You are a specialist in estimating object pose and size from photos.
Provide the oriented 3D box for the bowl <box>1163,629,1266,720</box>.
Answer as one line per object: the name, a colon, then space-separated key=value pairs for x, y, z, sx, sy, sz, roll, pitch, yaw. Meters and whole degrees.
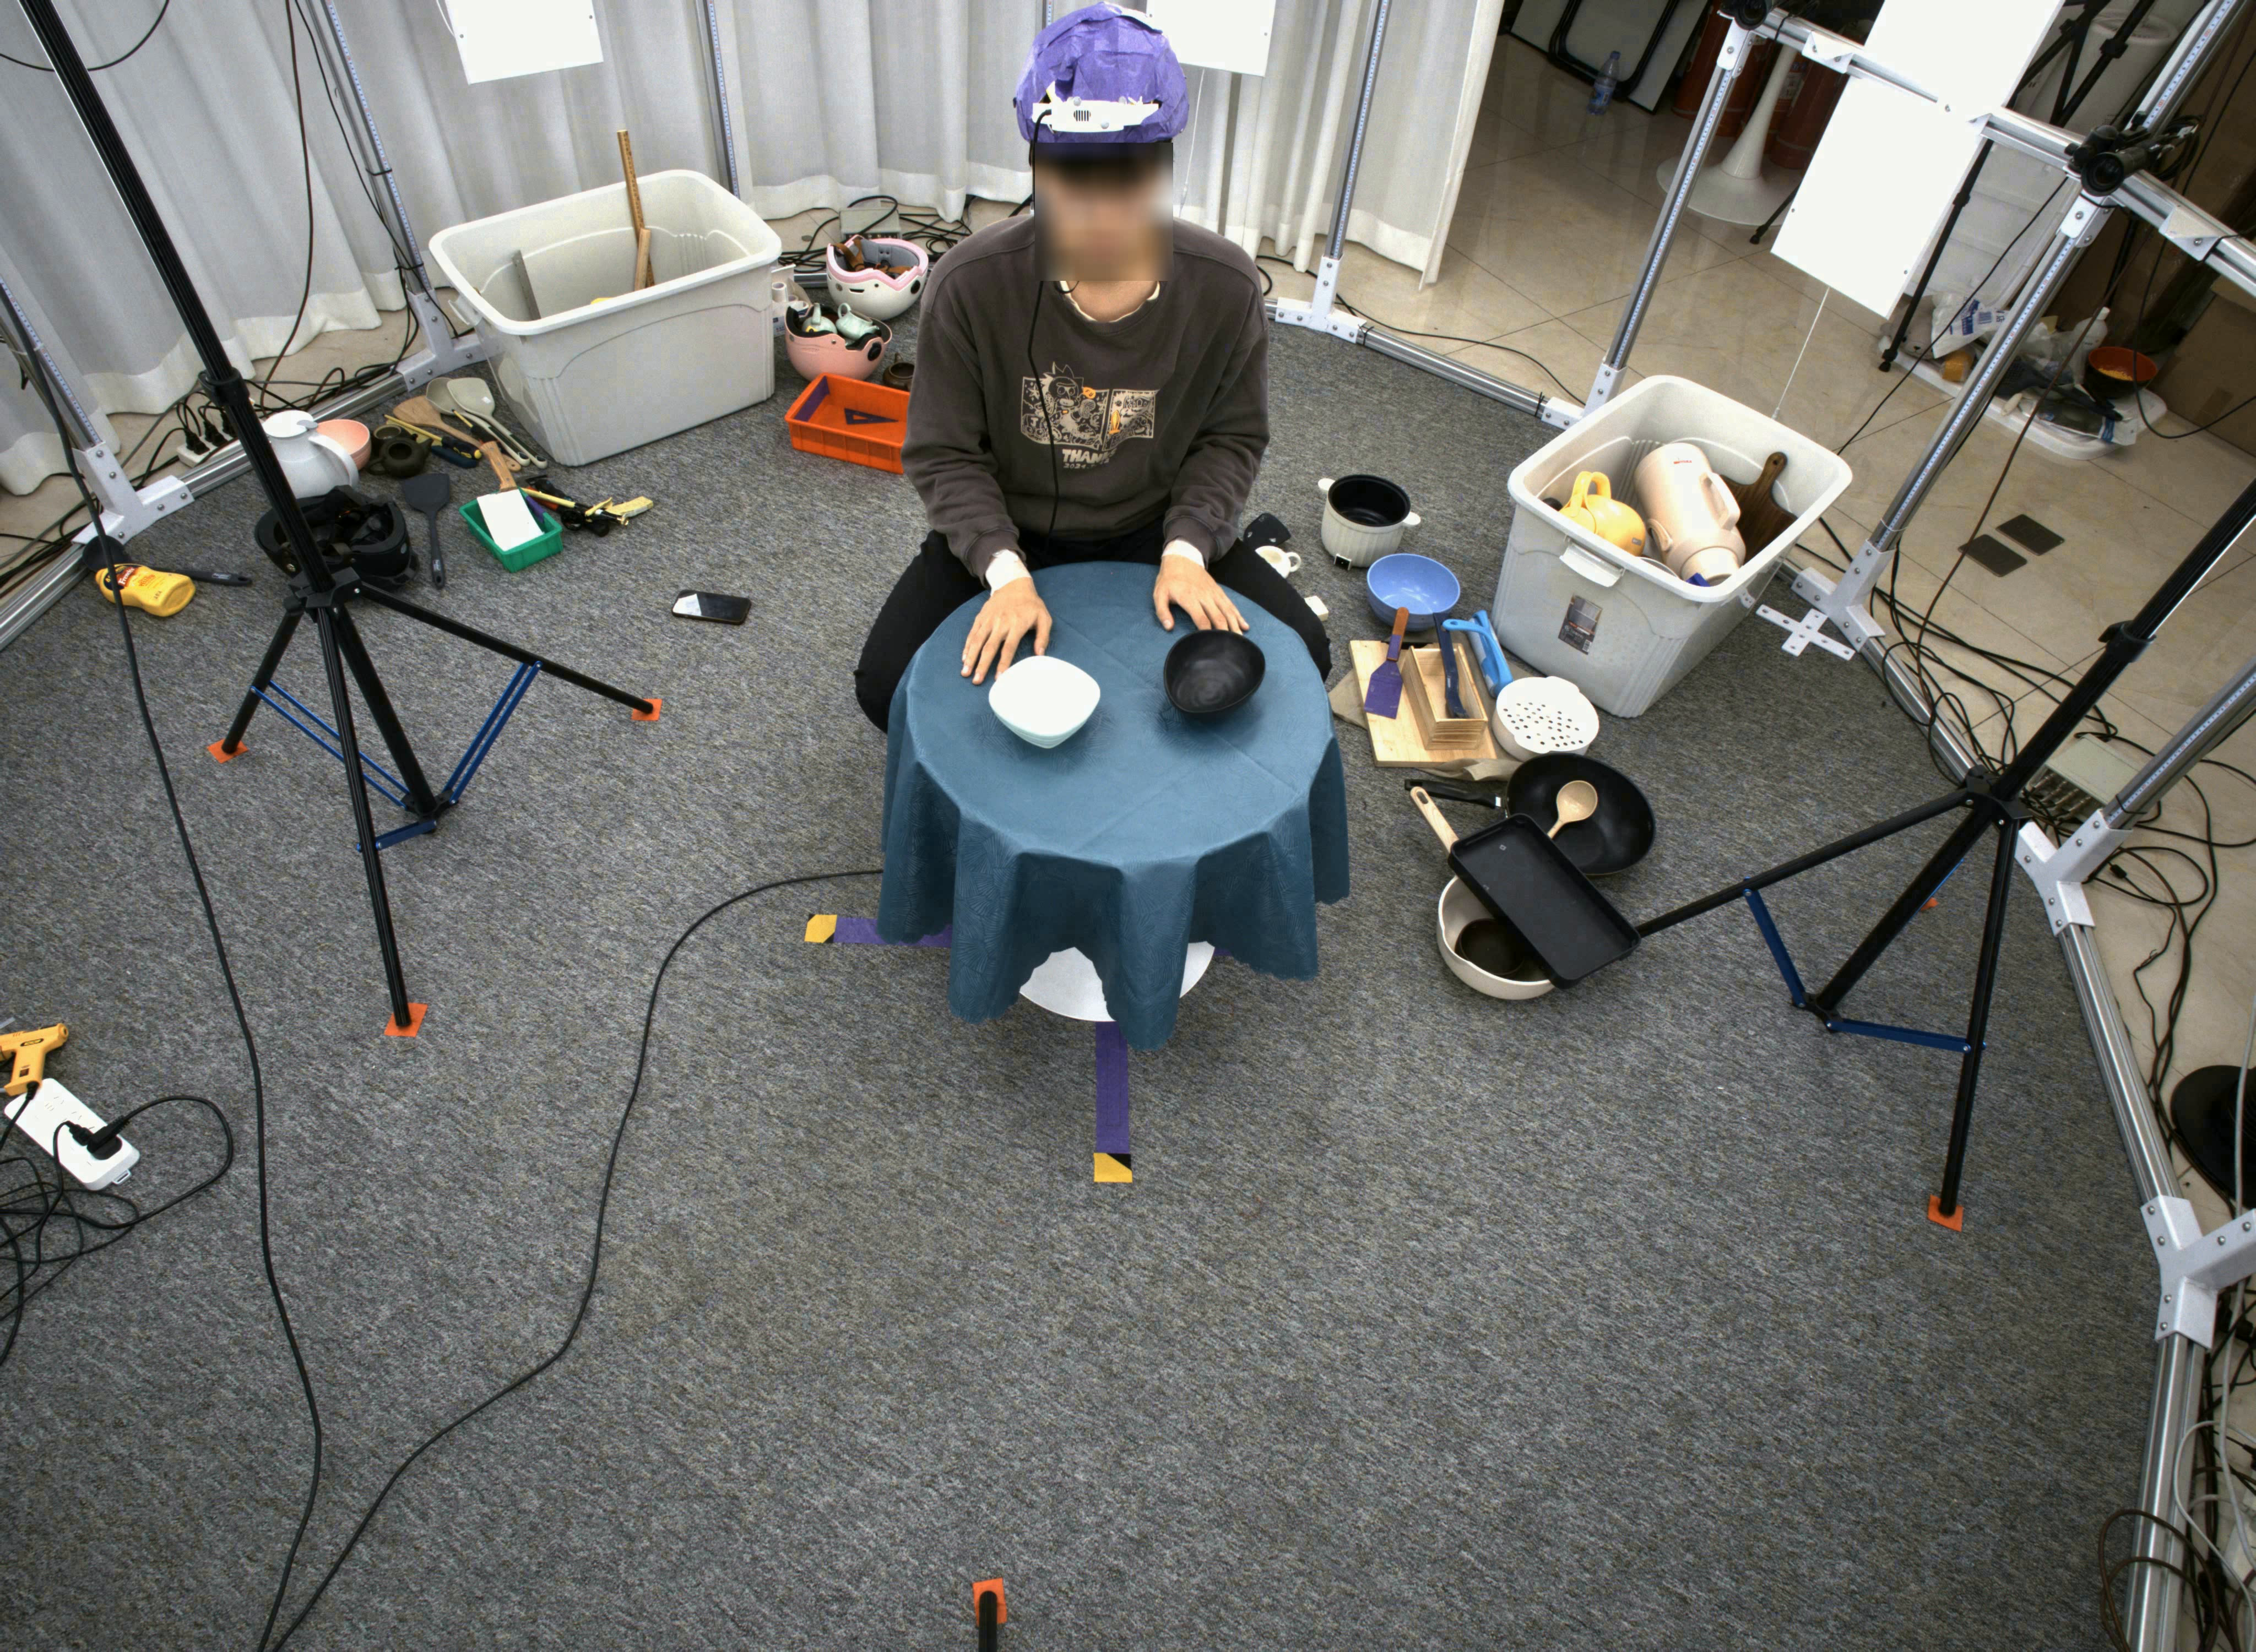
bowl: x=0.119 y=-0.202 z=1.808 sx=0.138 sy=0.065 sz=0.173 roll=24 pitch=53 yaw=17

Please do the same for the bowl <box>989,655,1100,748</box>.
bowl: x=-0.115 y=-0.162 z=1.762 sx=0.151 sy=0.057 sz=0.155 roll=3 pitch=50 yaw=-3
